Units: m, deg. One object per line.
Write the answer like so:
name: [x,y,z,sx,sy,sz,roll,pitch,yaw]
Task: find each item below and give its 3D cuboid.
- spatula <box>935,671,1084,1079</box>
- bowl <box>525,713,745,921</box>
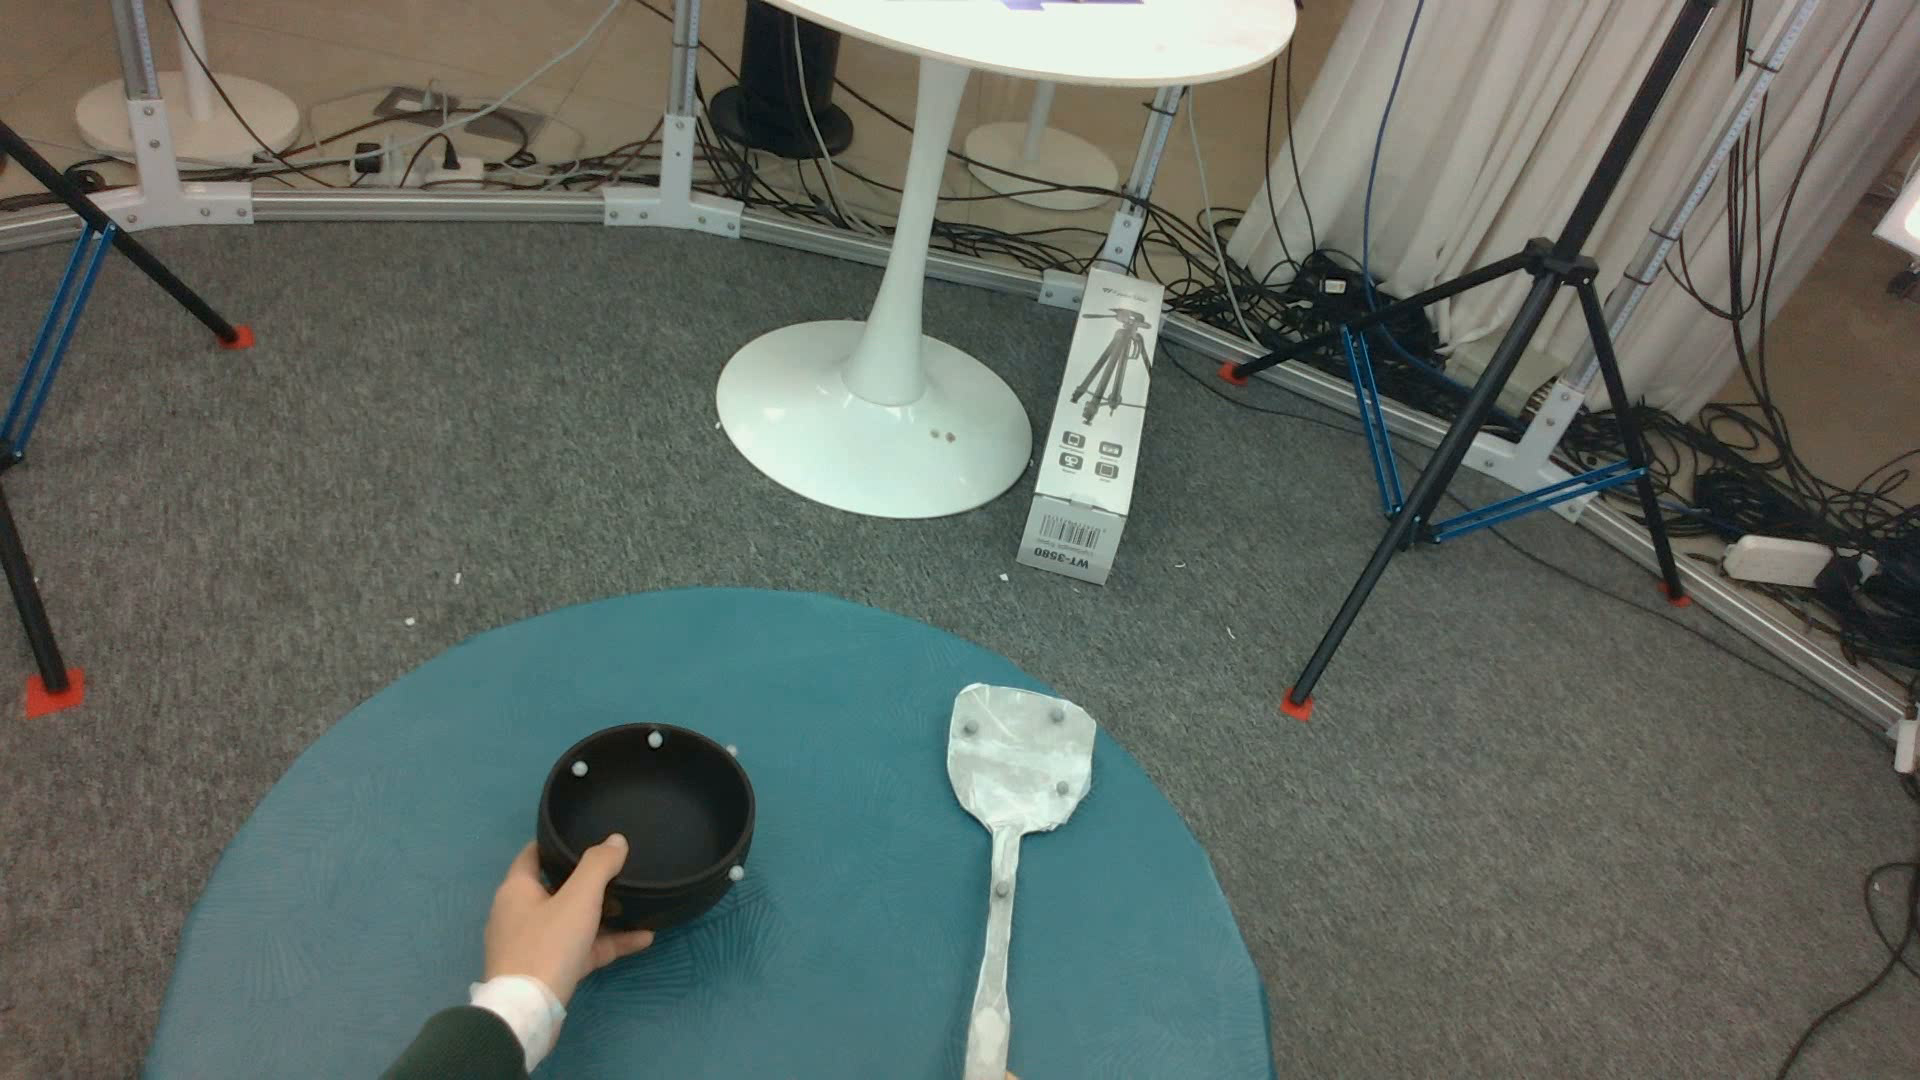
spatula: [0.014,0.212,0.796,0.099,0.044,0.366,15,35,-2]
bowl: [-0.183,0.162,0.771,0.118,0.069,0.118,10,38,-8]
